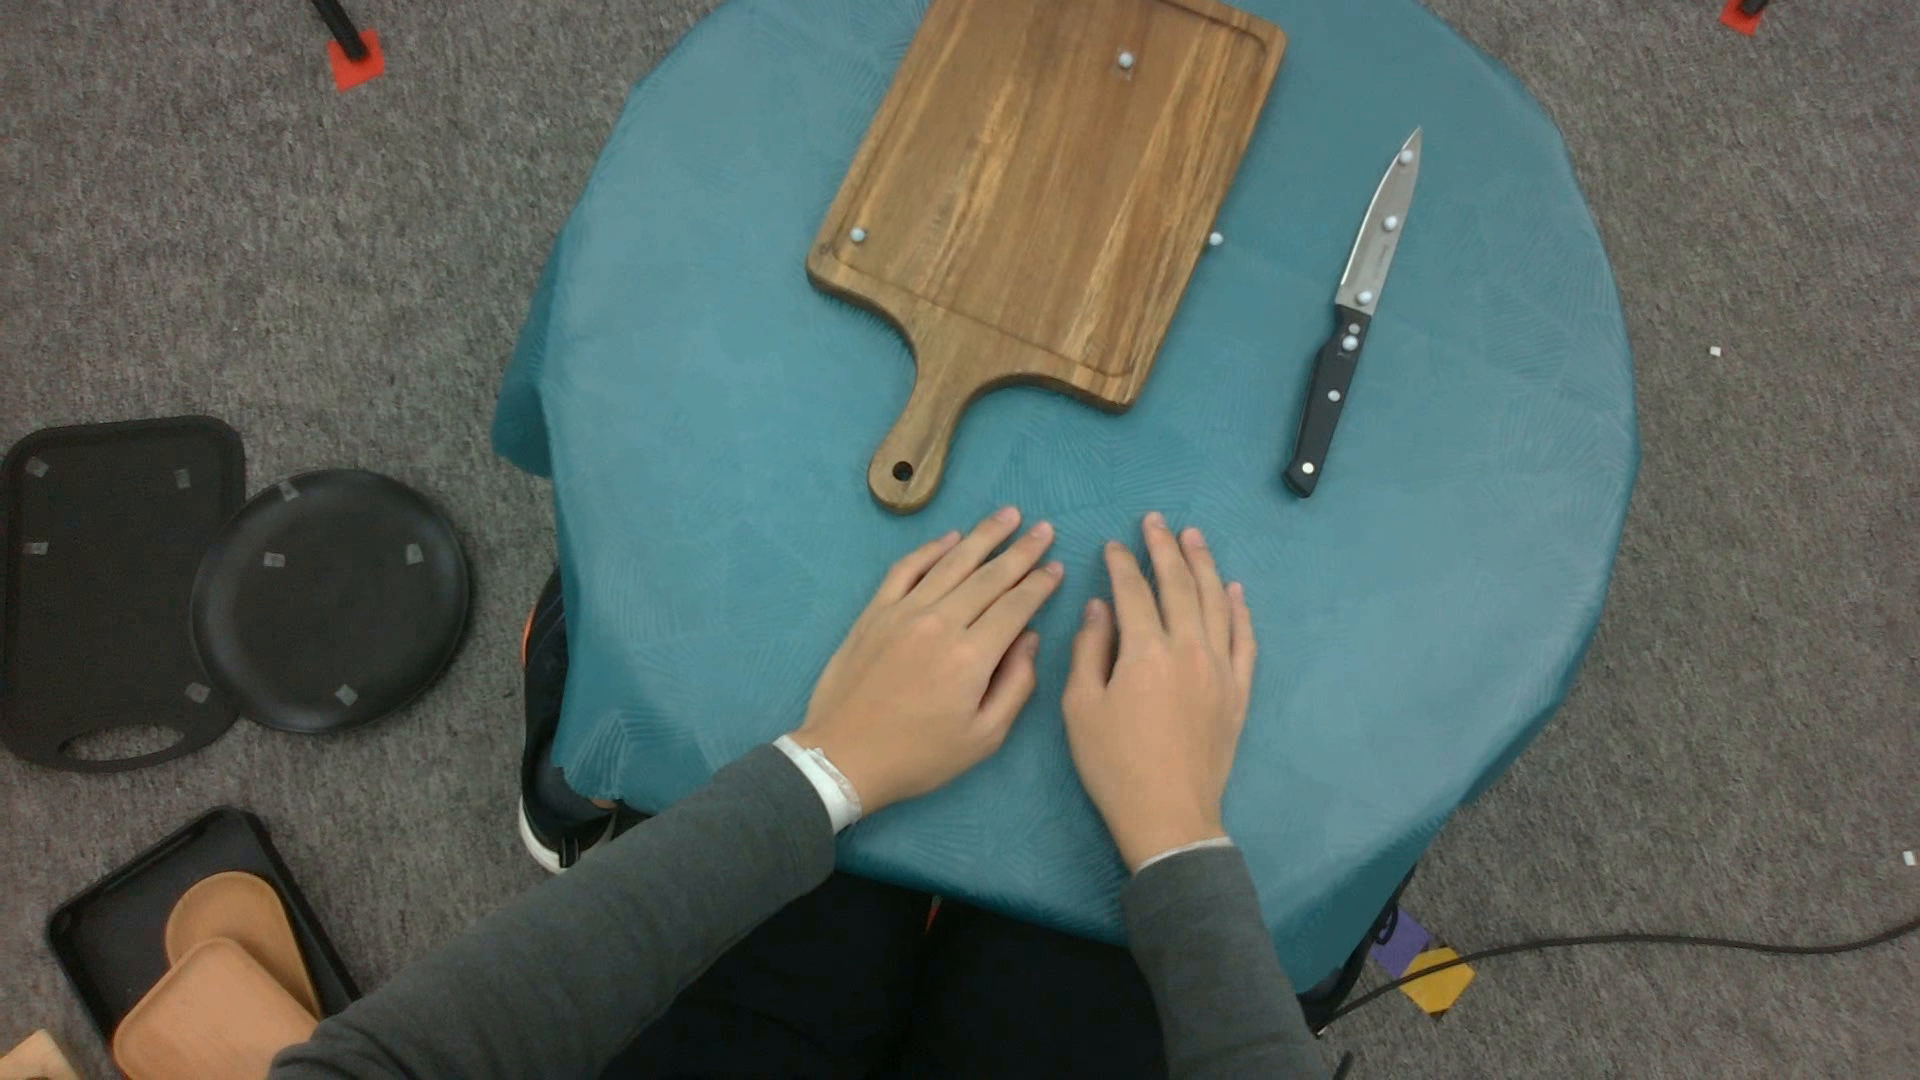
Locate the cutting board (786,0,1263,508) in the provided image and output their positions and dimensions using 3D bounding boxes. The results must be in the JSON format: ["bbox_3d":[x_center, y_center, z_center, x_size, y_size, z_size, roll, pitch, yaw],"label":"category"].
[{"bbox_3d":[0.021,-0.179,0.762,0.201,0.023,0.353,22,76,3],"label":"cutting board"}]

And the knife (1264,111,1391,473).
[{"bbox_3d":[0.211,-0.142,0.767,0.024,0.016,0.239,21,73,-1],"label":"knife"}]
